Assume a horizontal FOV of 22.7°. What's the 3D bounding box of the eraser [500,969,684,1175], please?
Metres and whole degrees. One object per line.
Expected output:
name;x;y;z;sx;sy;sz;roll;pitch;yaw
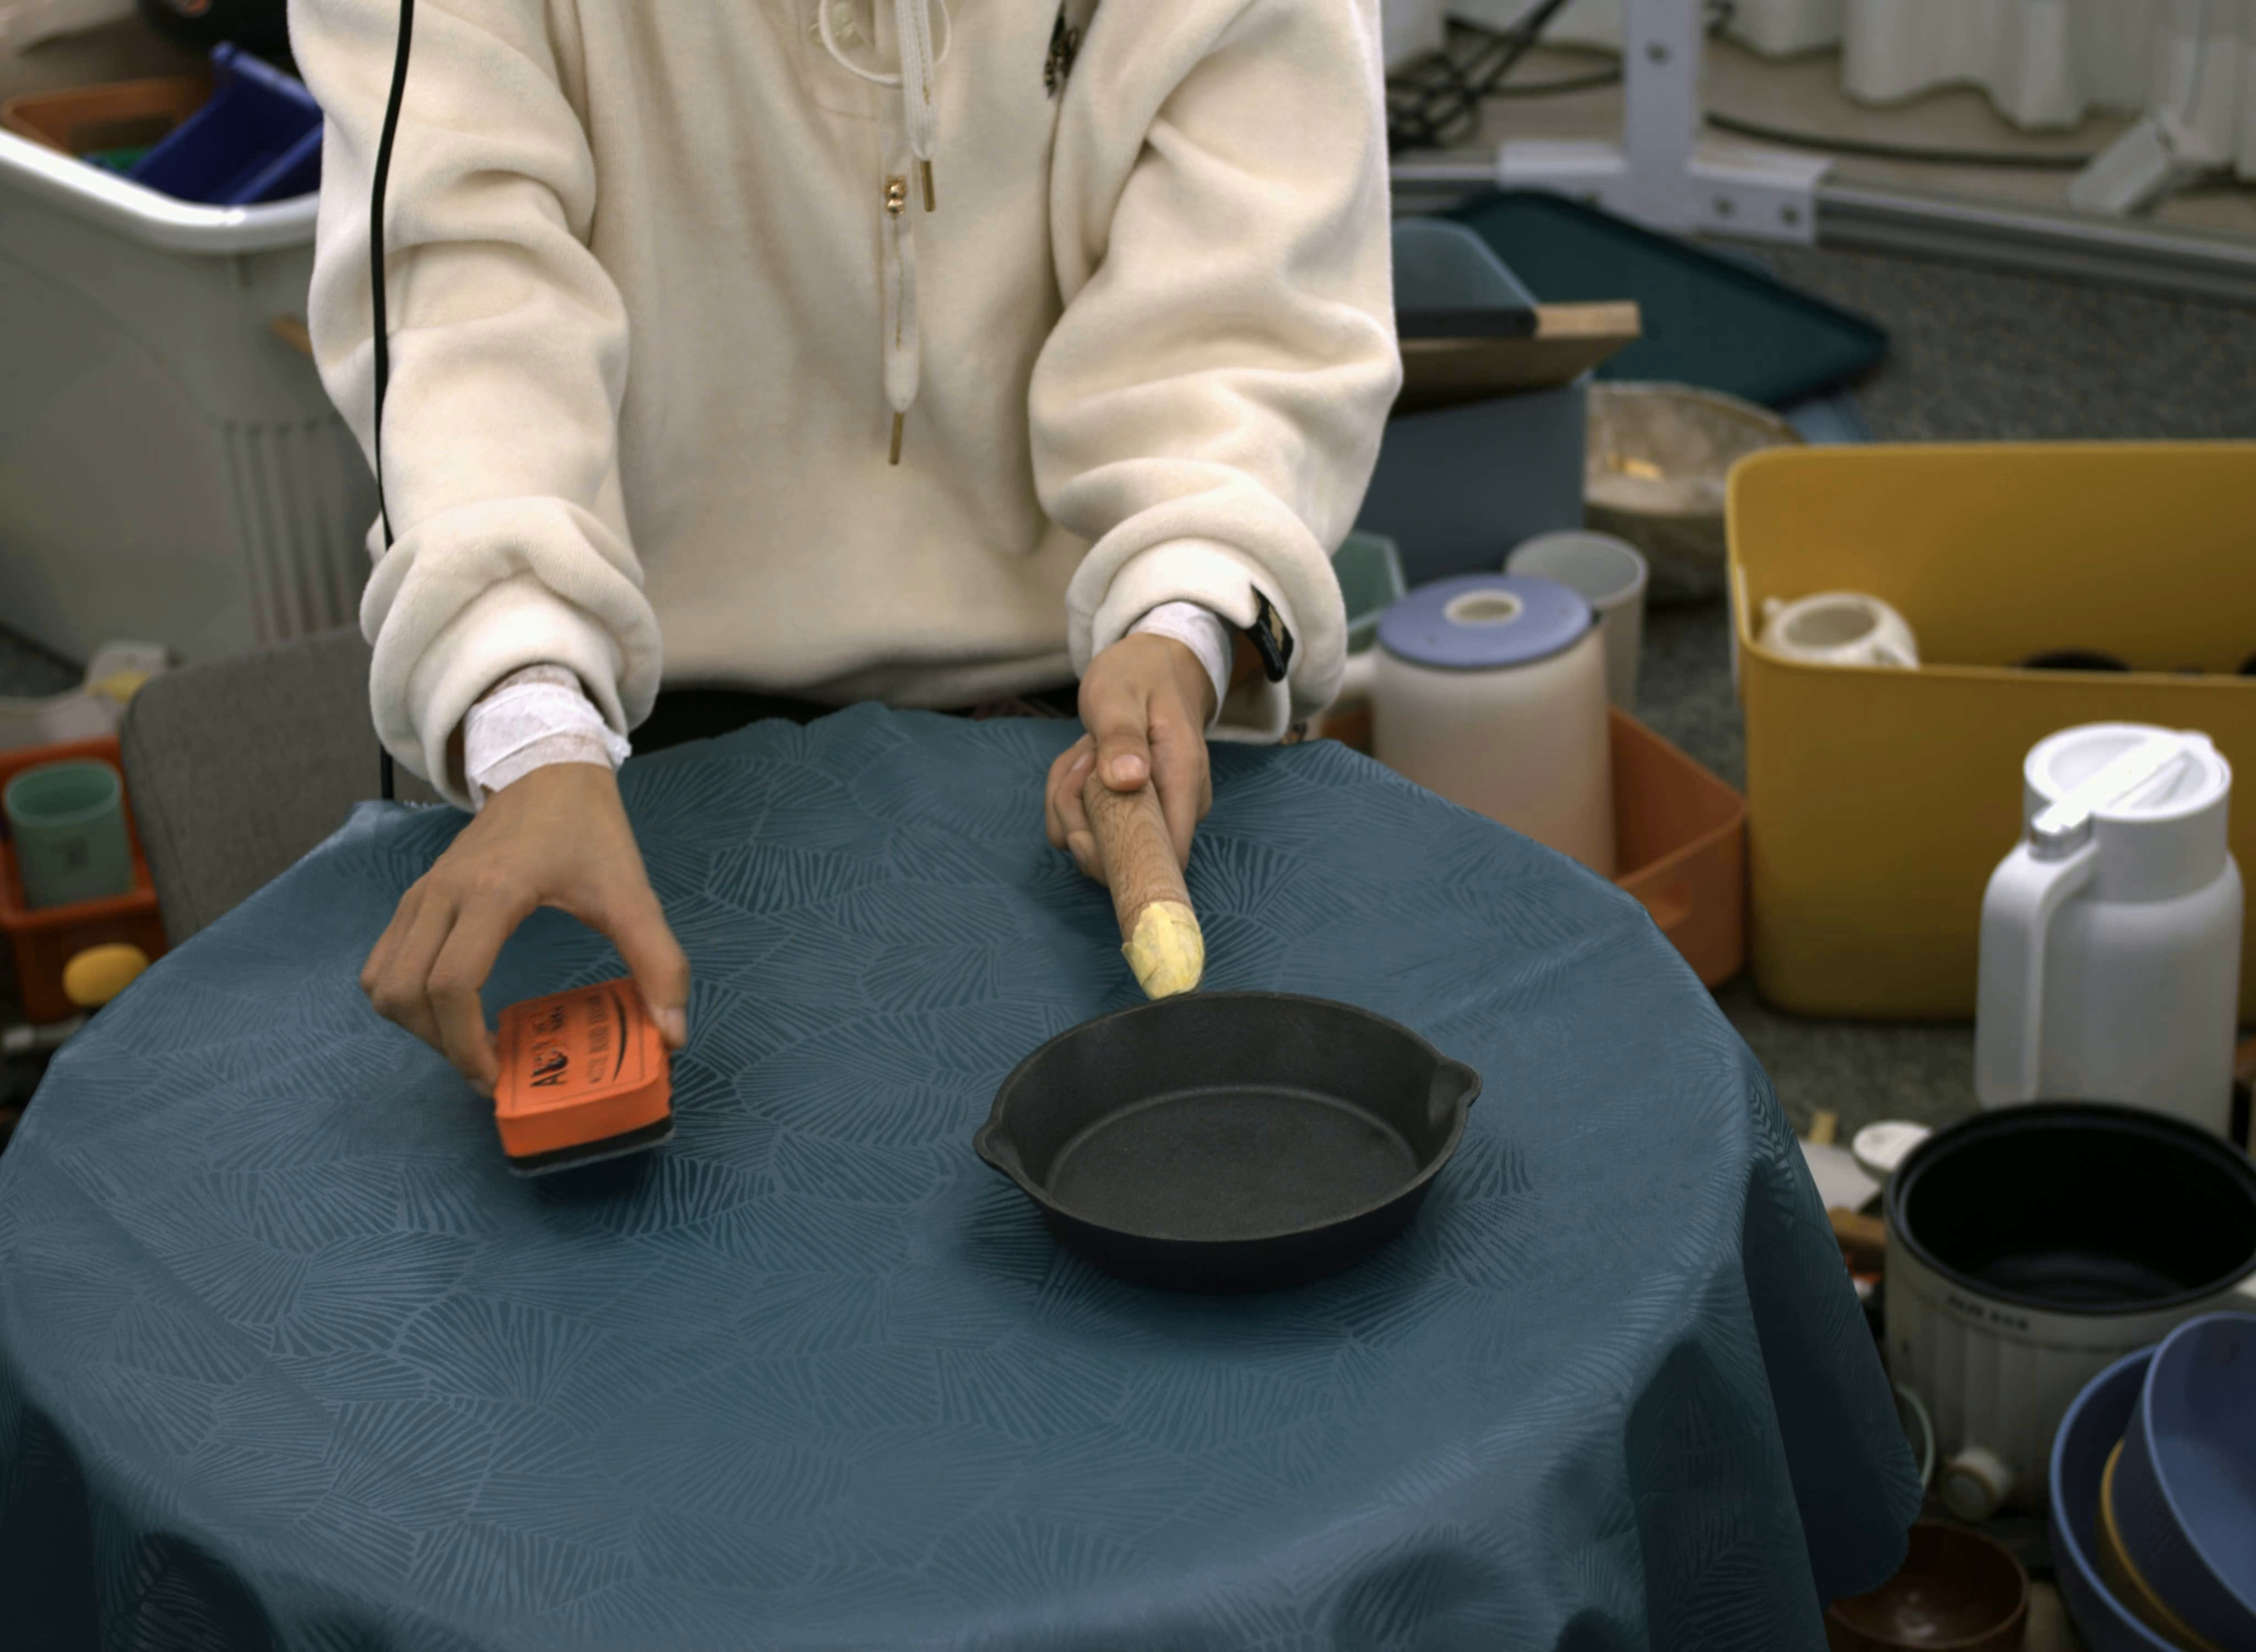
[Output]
eraser;-0.181;0.083;1.906;0.059;0.023;0.109;-15;19;1

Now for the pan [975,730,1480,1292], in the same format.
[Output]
pan;0.021;0.060;1.922;0.168;0.049;0.328;-7;29;-6
